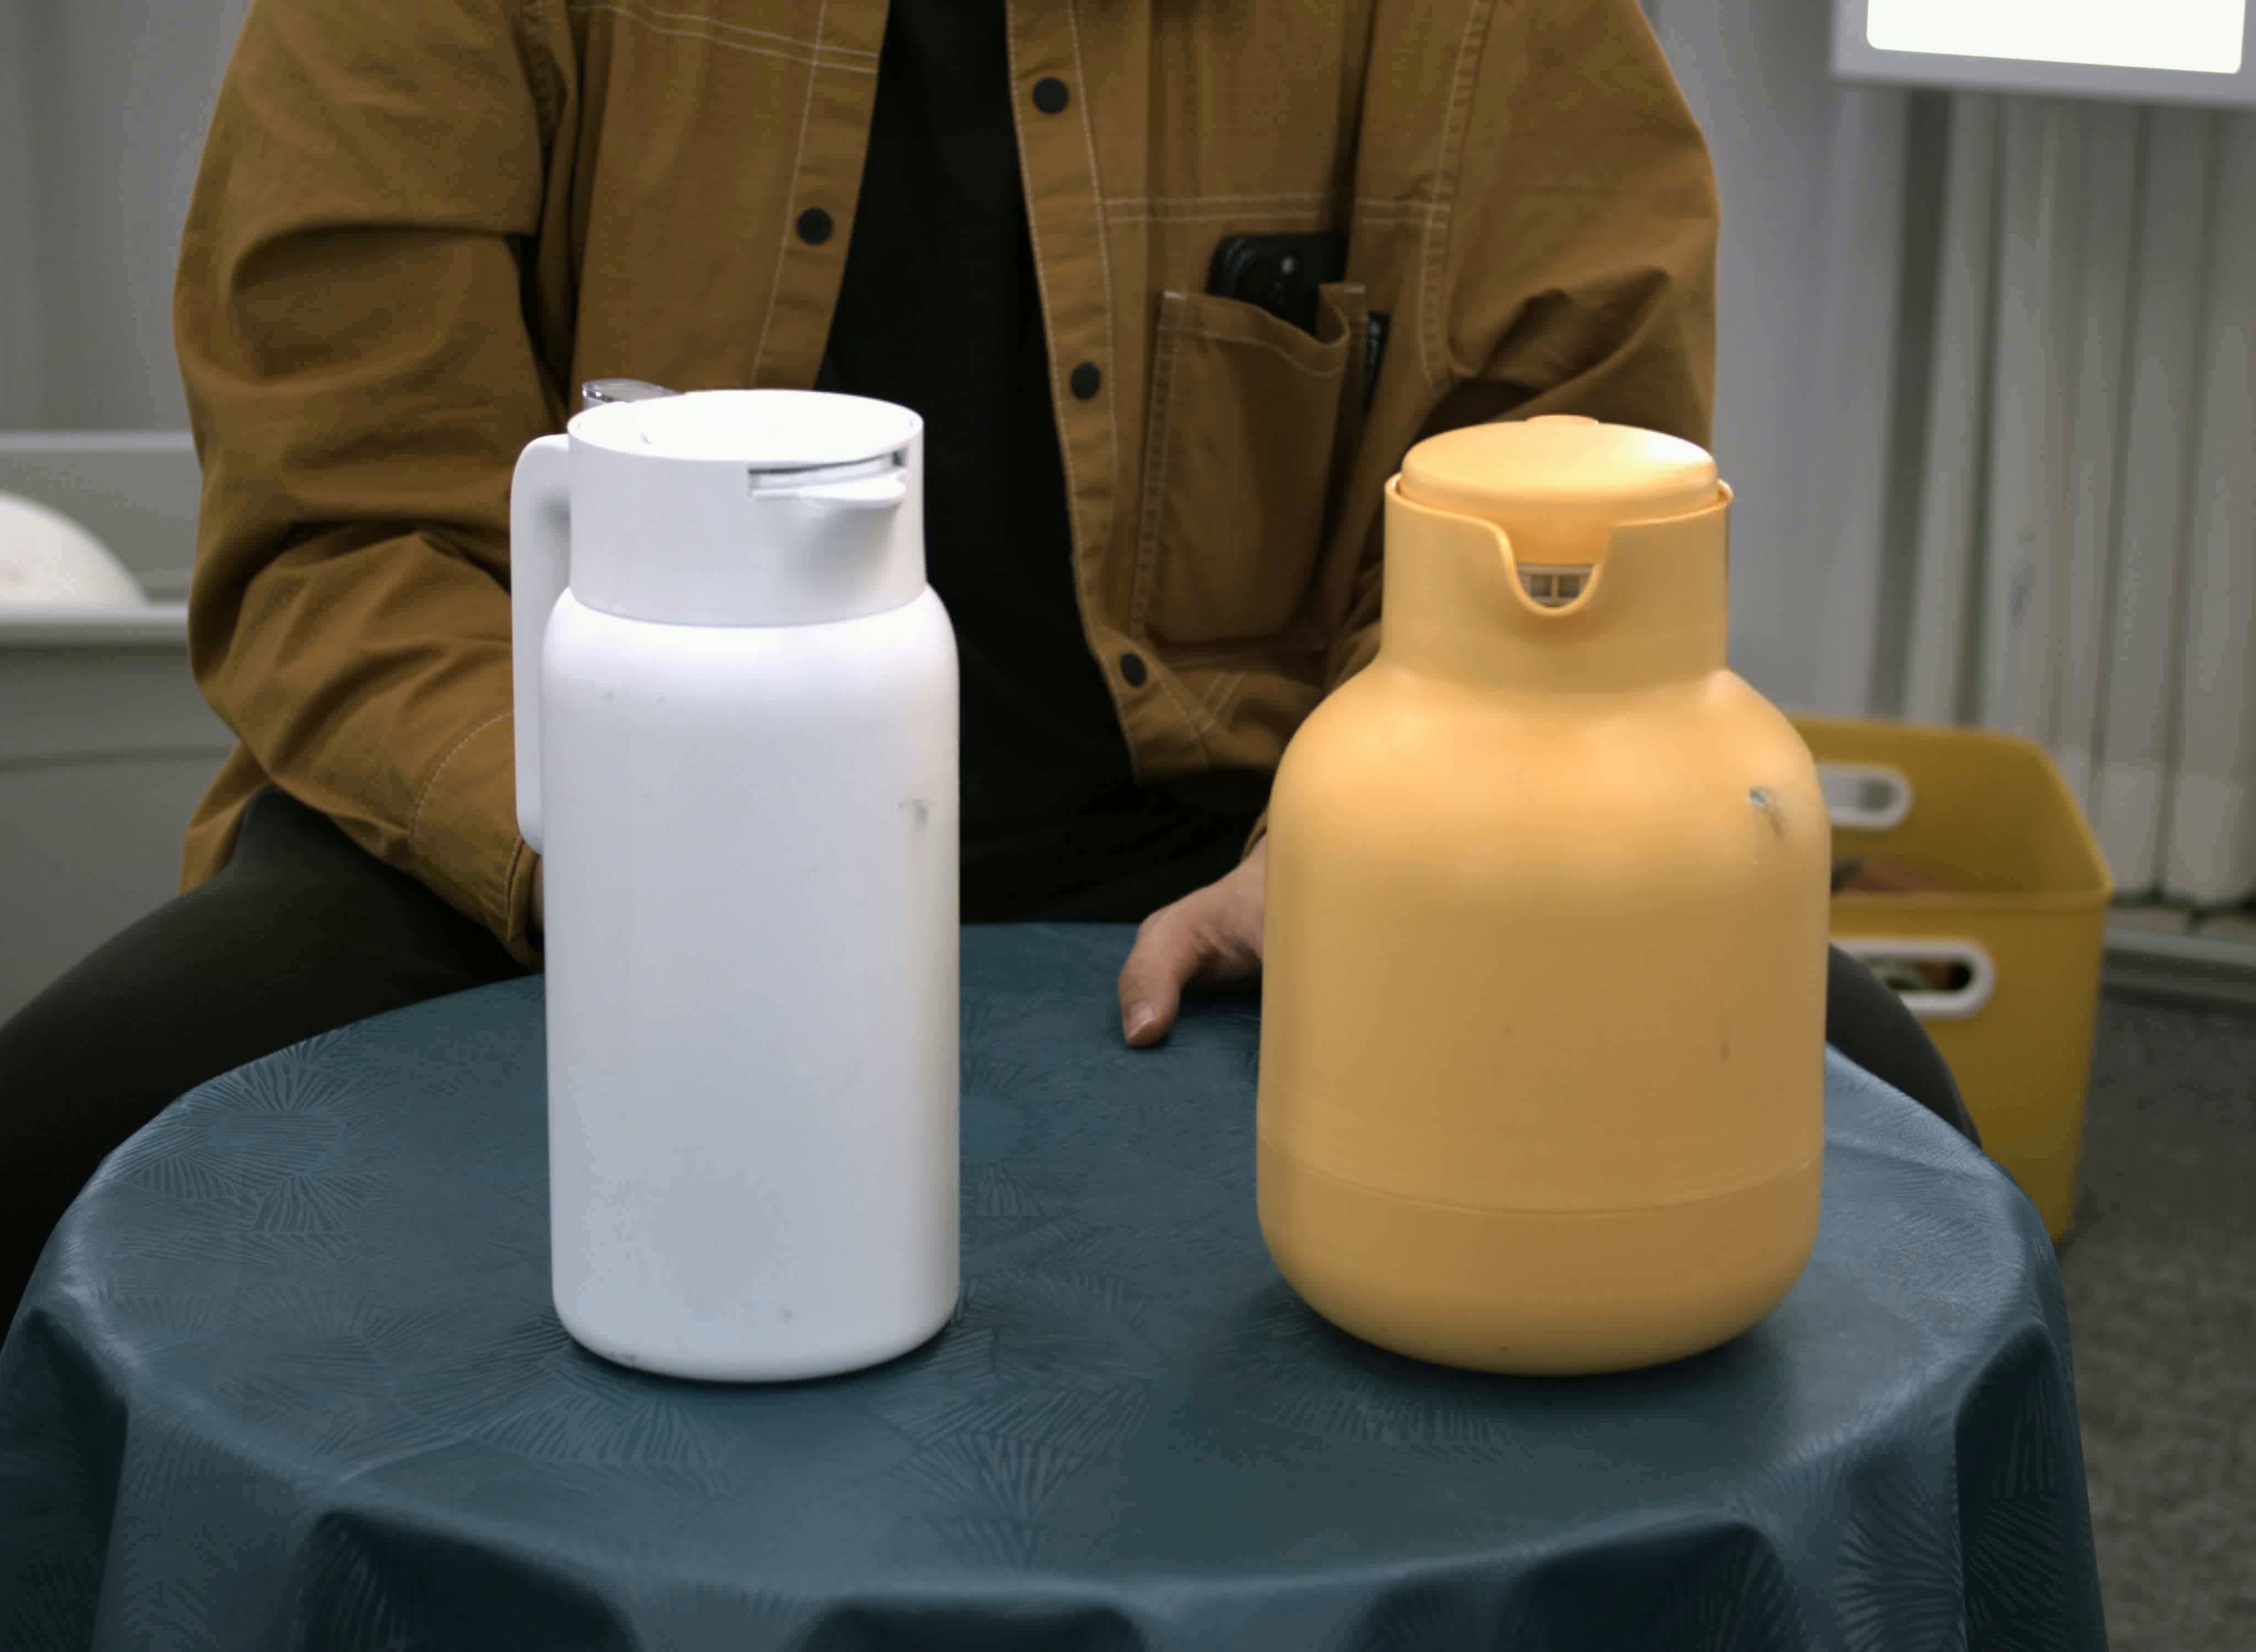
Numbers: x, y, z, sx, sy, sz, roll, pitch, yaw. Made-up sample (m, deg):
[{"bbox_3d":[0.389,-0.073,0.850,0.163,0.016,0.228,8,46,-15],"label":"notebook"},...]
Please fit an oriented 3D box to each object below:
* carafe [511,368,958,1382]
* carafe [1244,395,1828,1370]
[{"bbox_3d":[-0.118,0.010,1.485,0.124,0.271,0.170,-14,22,-36],"label":"carafe"},{"bbox_3d":[0.121,0.008,1.507,0.162,0.262,0.201,5,18,6],"label":"carafe"}]
